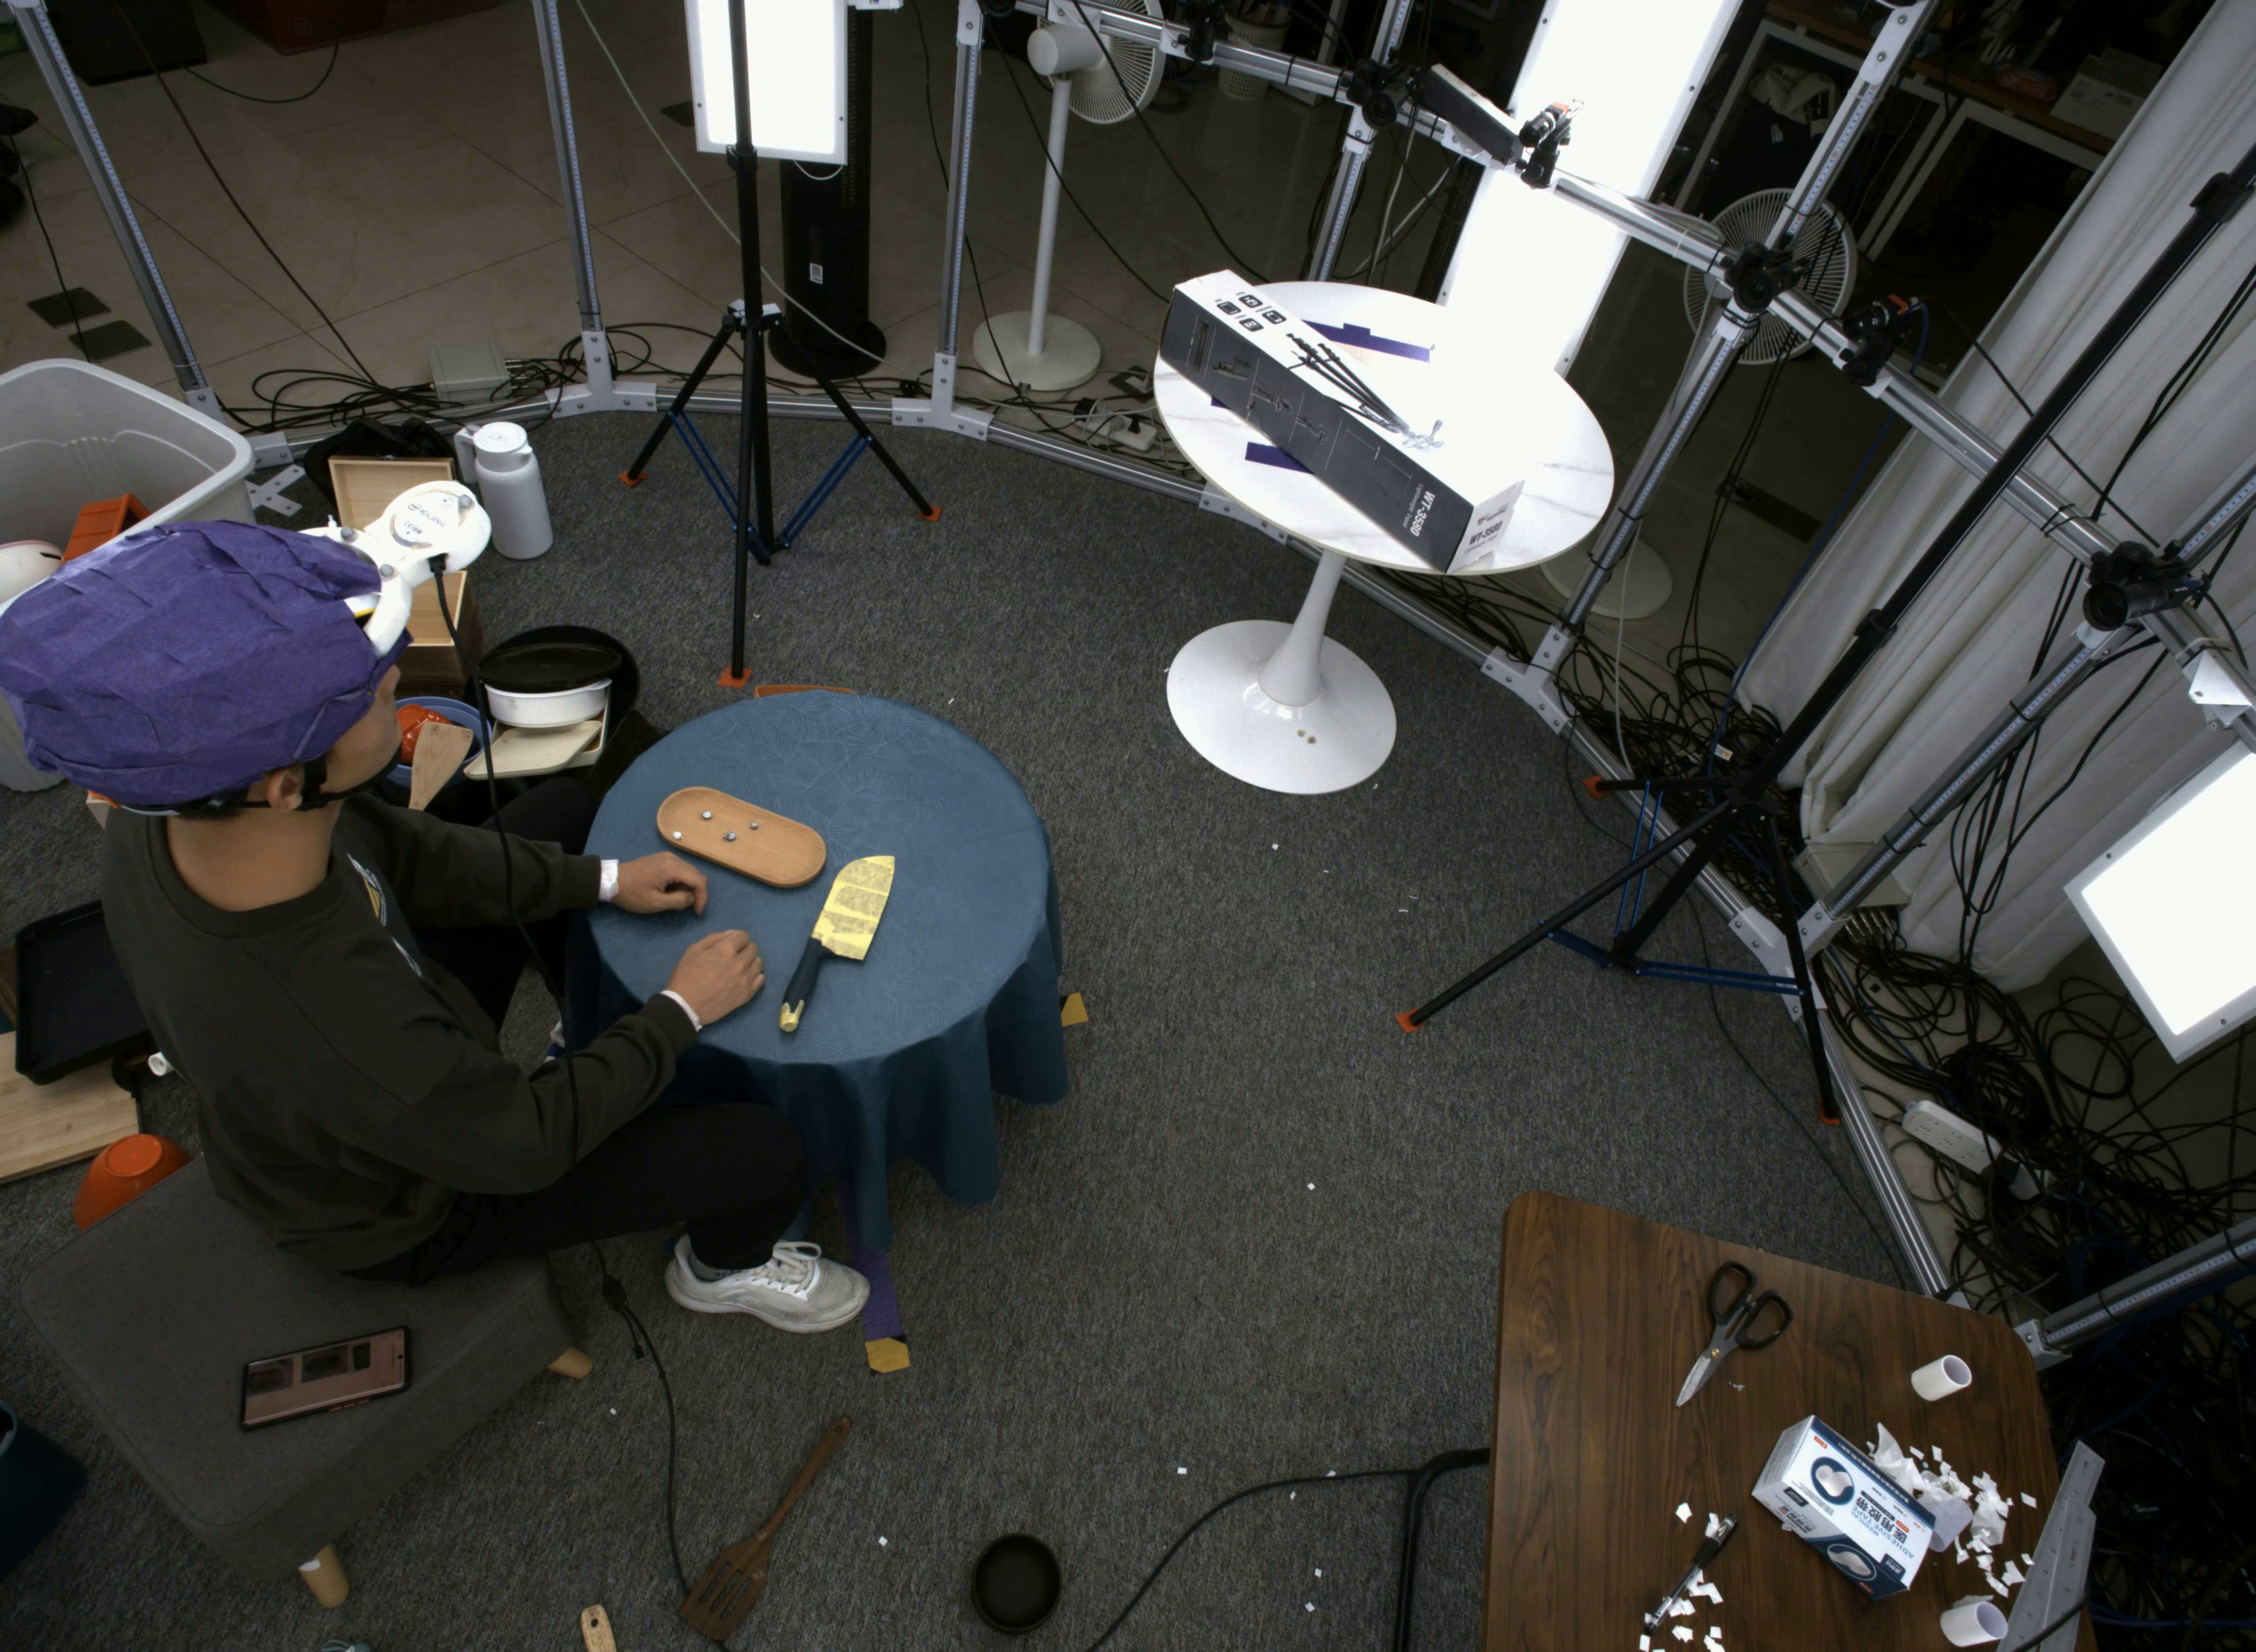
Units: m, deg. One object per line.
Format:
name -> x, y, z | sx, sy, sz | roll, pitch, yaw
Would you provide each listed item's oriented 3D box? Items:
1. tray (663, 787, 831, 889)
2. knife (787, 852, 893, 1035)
tray -> -0.500, 0.015, 1.695 | 0.229, 0.020, 0.101 | 22, 54, 0
knife -> -0.361, 0.140, 1.638 | 0.080, 0.028, 0.286 | 16, 51, 1
